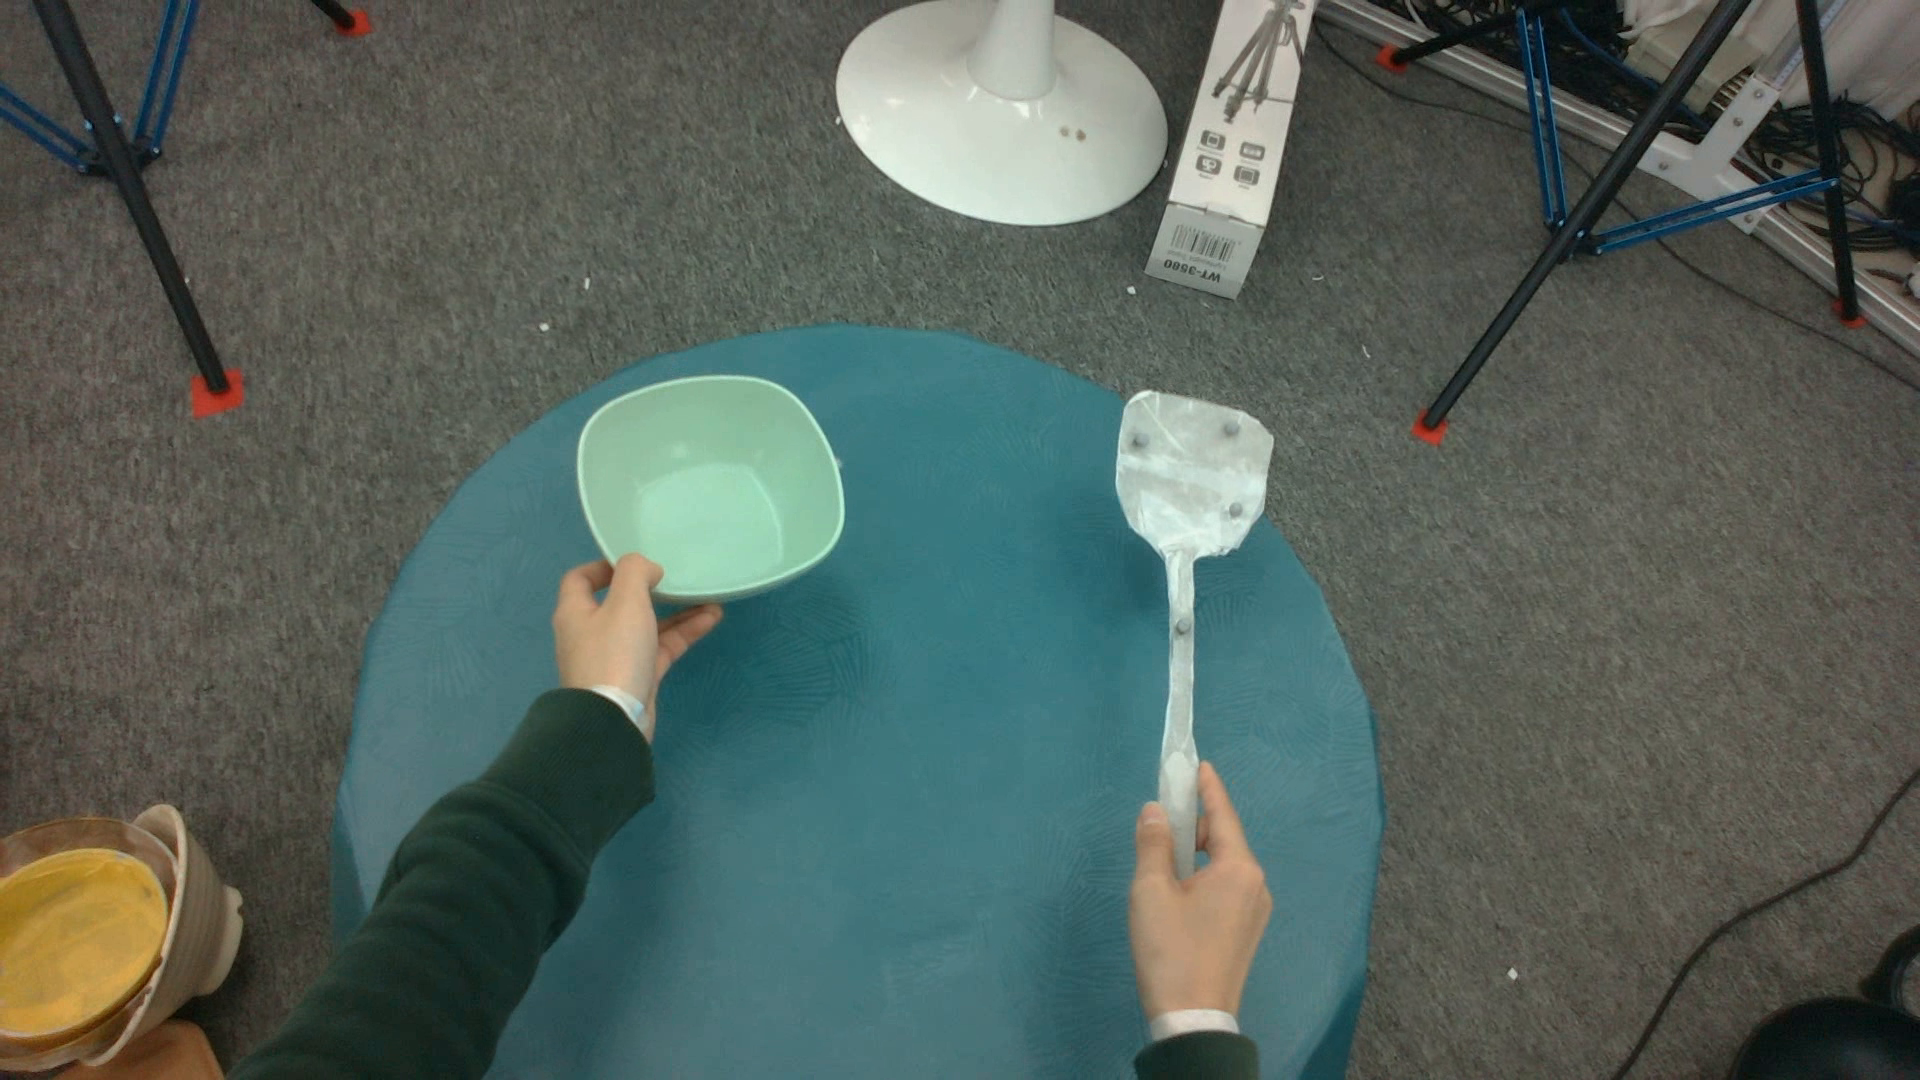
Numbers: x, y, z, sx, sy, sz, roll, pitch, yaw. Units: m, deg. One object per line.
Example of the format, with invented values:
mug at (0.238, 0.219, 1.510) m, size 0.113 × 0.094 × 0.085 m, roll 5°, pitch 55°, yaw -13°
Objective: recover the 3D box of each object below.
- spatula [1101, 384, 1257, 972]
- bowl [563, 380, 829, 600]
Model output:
spatula at (0.113, 0.061, 0.771) m, size 0.099 × 0.044 × 0.366 m, roll 15°, pitch 52°, yaw -7°
bowl at (-0.149, -0.019, 0.773) m, size 0.151 × 0.058 × 0.152 m, roll 7°, pitch 54°, yaw -9°
